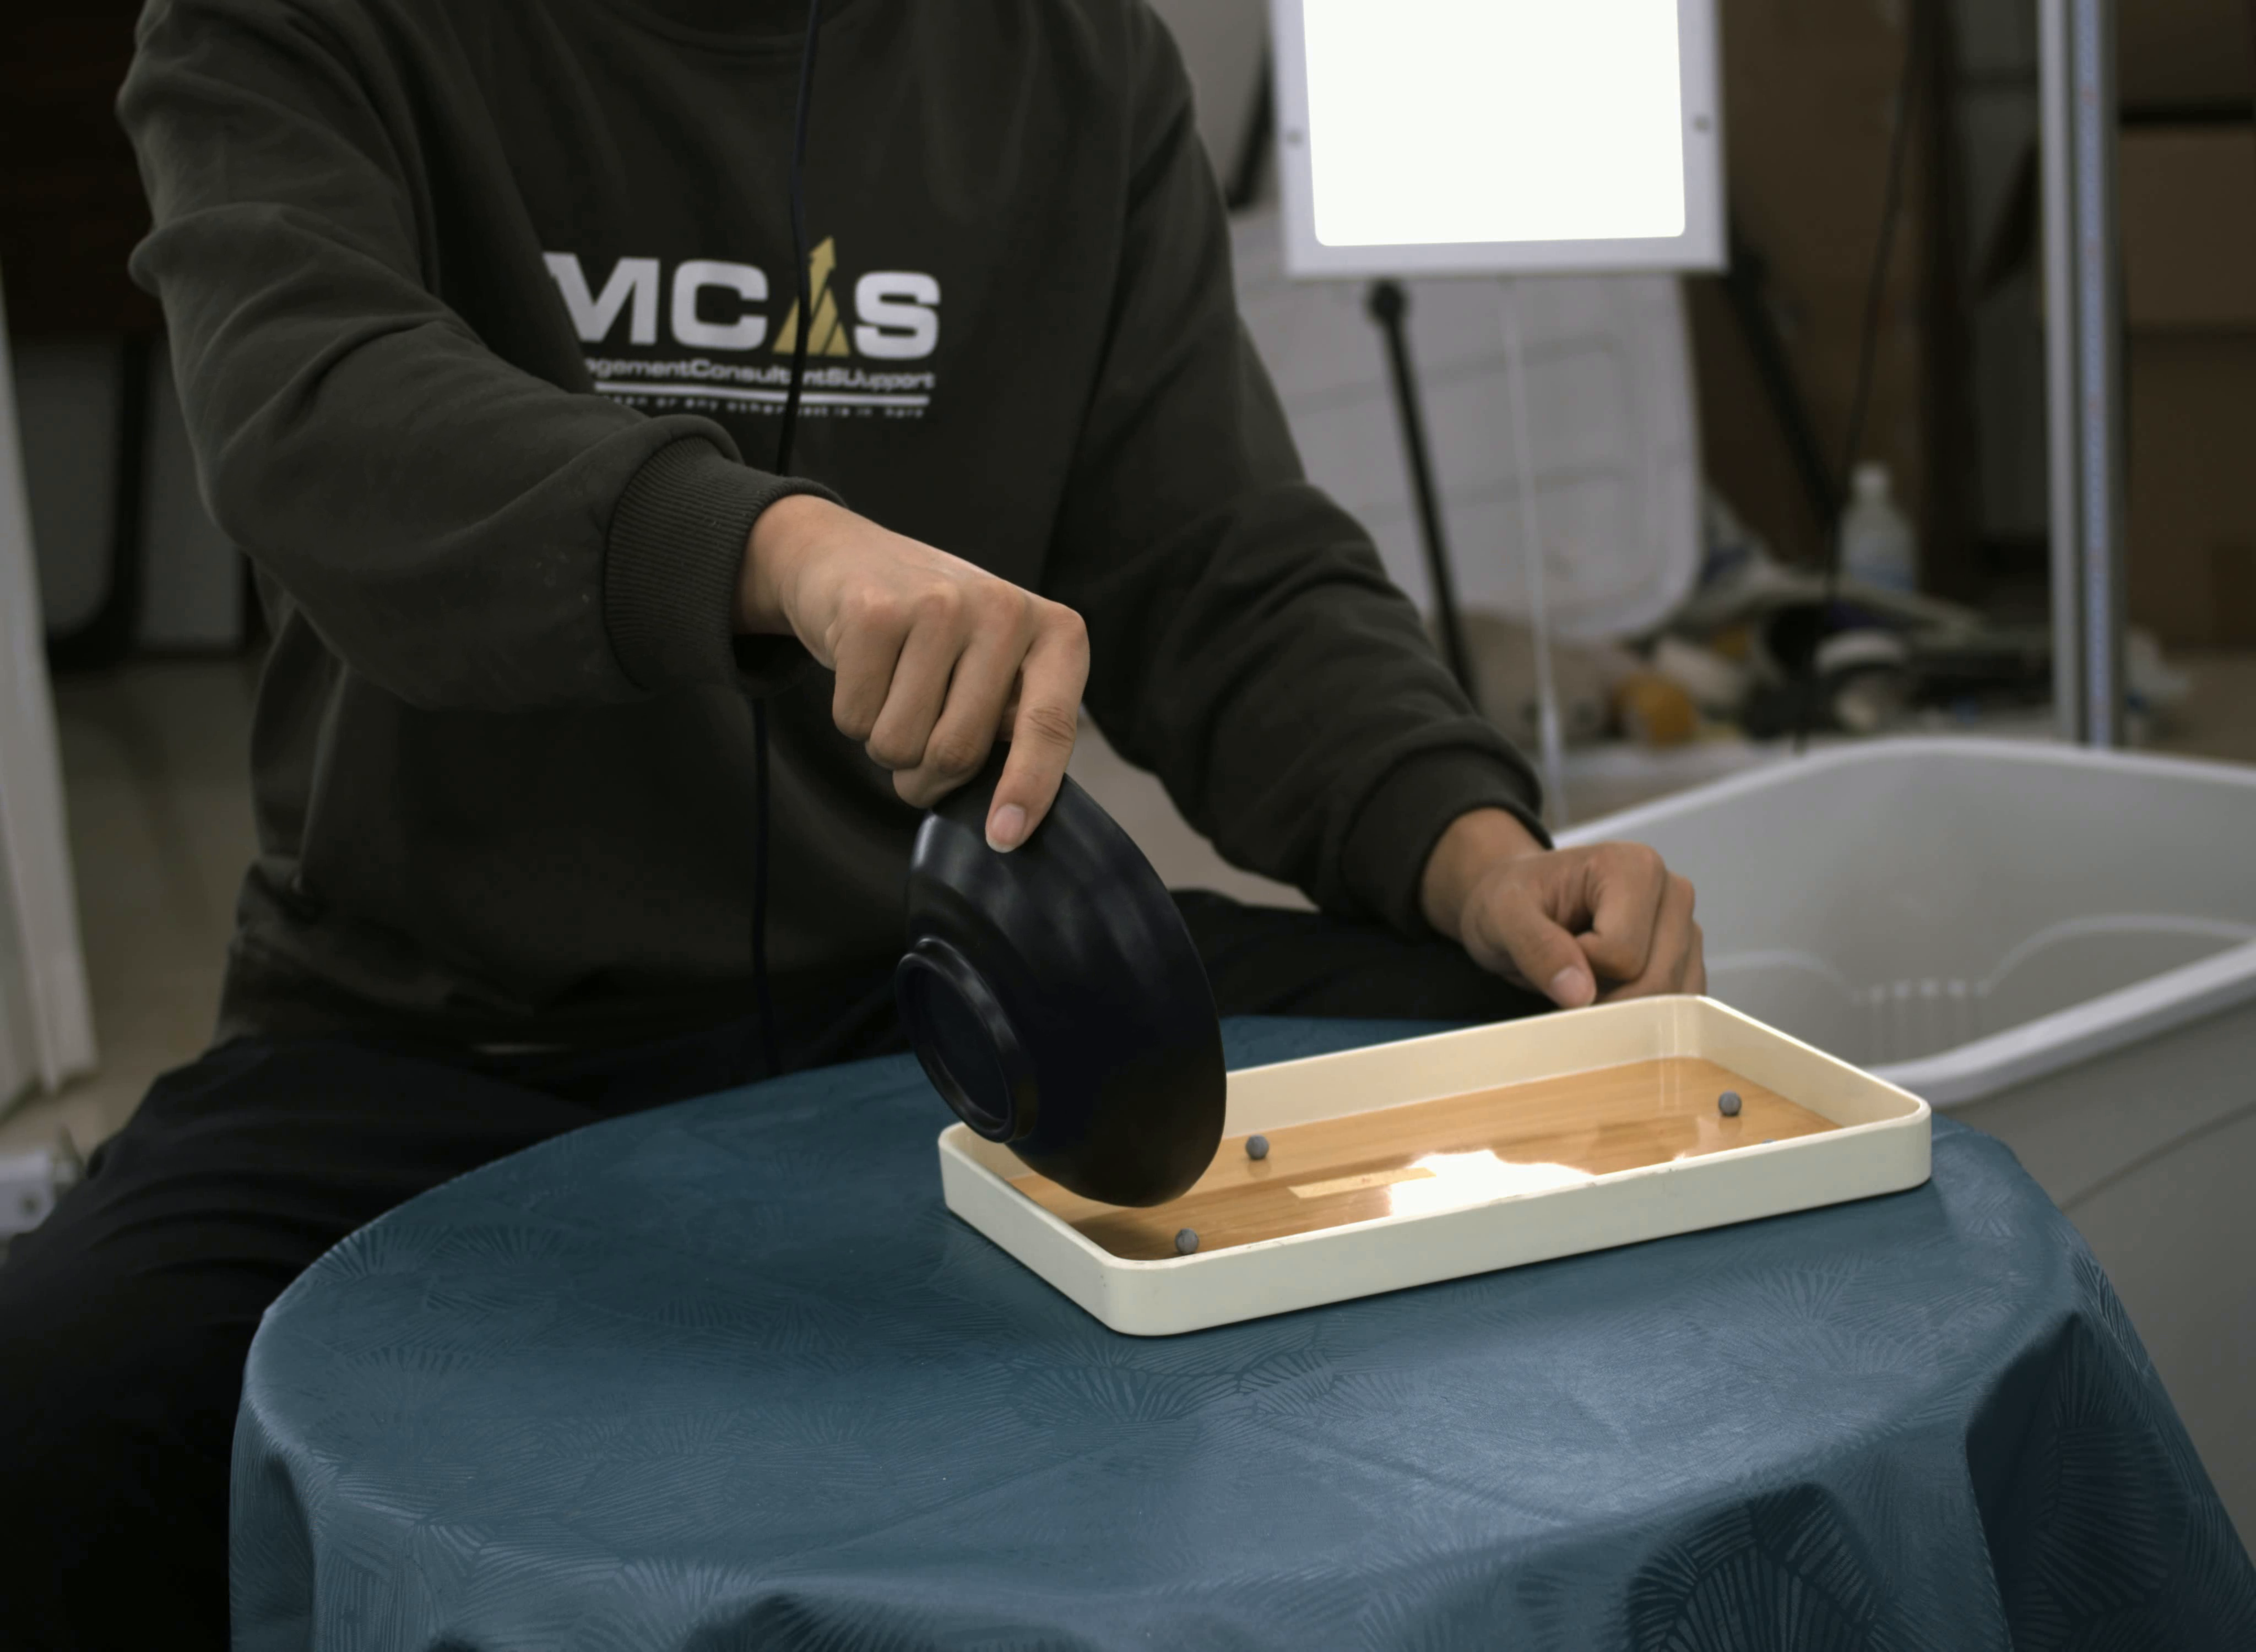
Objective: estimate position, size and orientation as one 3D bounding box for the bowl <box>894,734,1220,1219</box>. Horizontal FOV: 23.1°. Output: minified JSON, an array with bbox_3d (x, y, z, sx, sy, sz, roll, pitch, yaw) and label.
[{"bbox_3d":[-0.034,0.057,1.805,0.065,0.170,0.140,-25,25,-23],"label":"bowl"}]

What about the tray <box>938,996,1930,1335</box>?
[{"bbox_3d":[0.103,0.112,1.866,0.295,0.027,0.194,-10,14,-18],"label":"tray"}]
